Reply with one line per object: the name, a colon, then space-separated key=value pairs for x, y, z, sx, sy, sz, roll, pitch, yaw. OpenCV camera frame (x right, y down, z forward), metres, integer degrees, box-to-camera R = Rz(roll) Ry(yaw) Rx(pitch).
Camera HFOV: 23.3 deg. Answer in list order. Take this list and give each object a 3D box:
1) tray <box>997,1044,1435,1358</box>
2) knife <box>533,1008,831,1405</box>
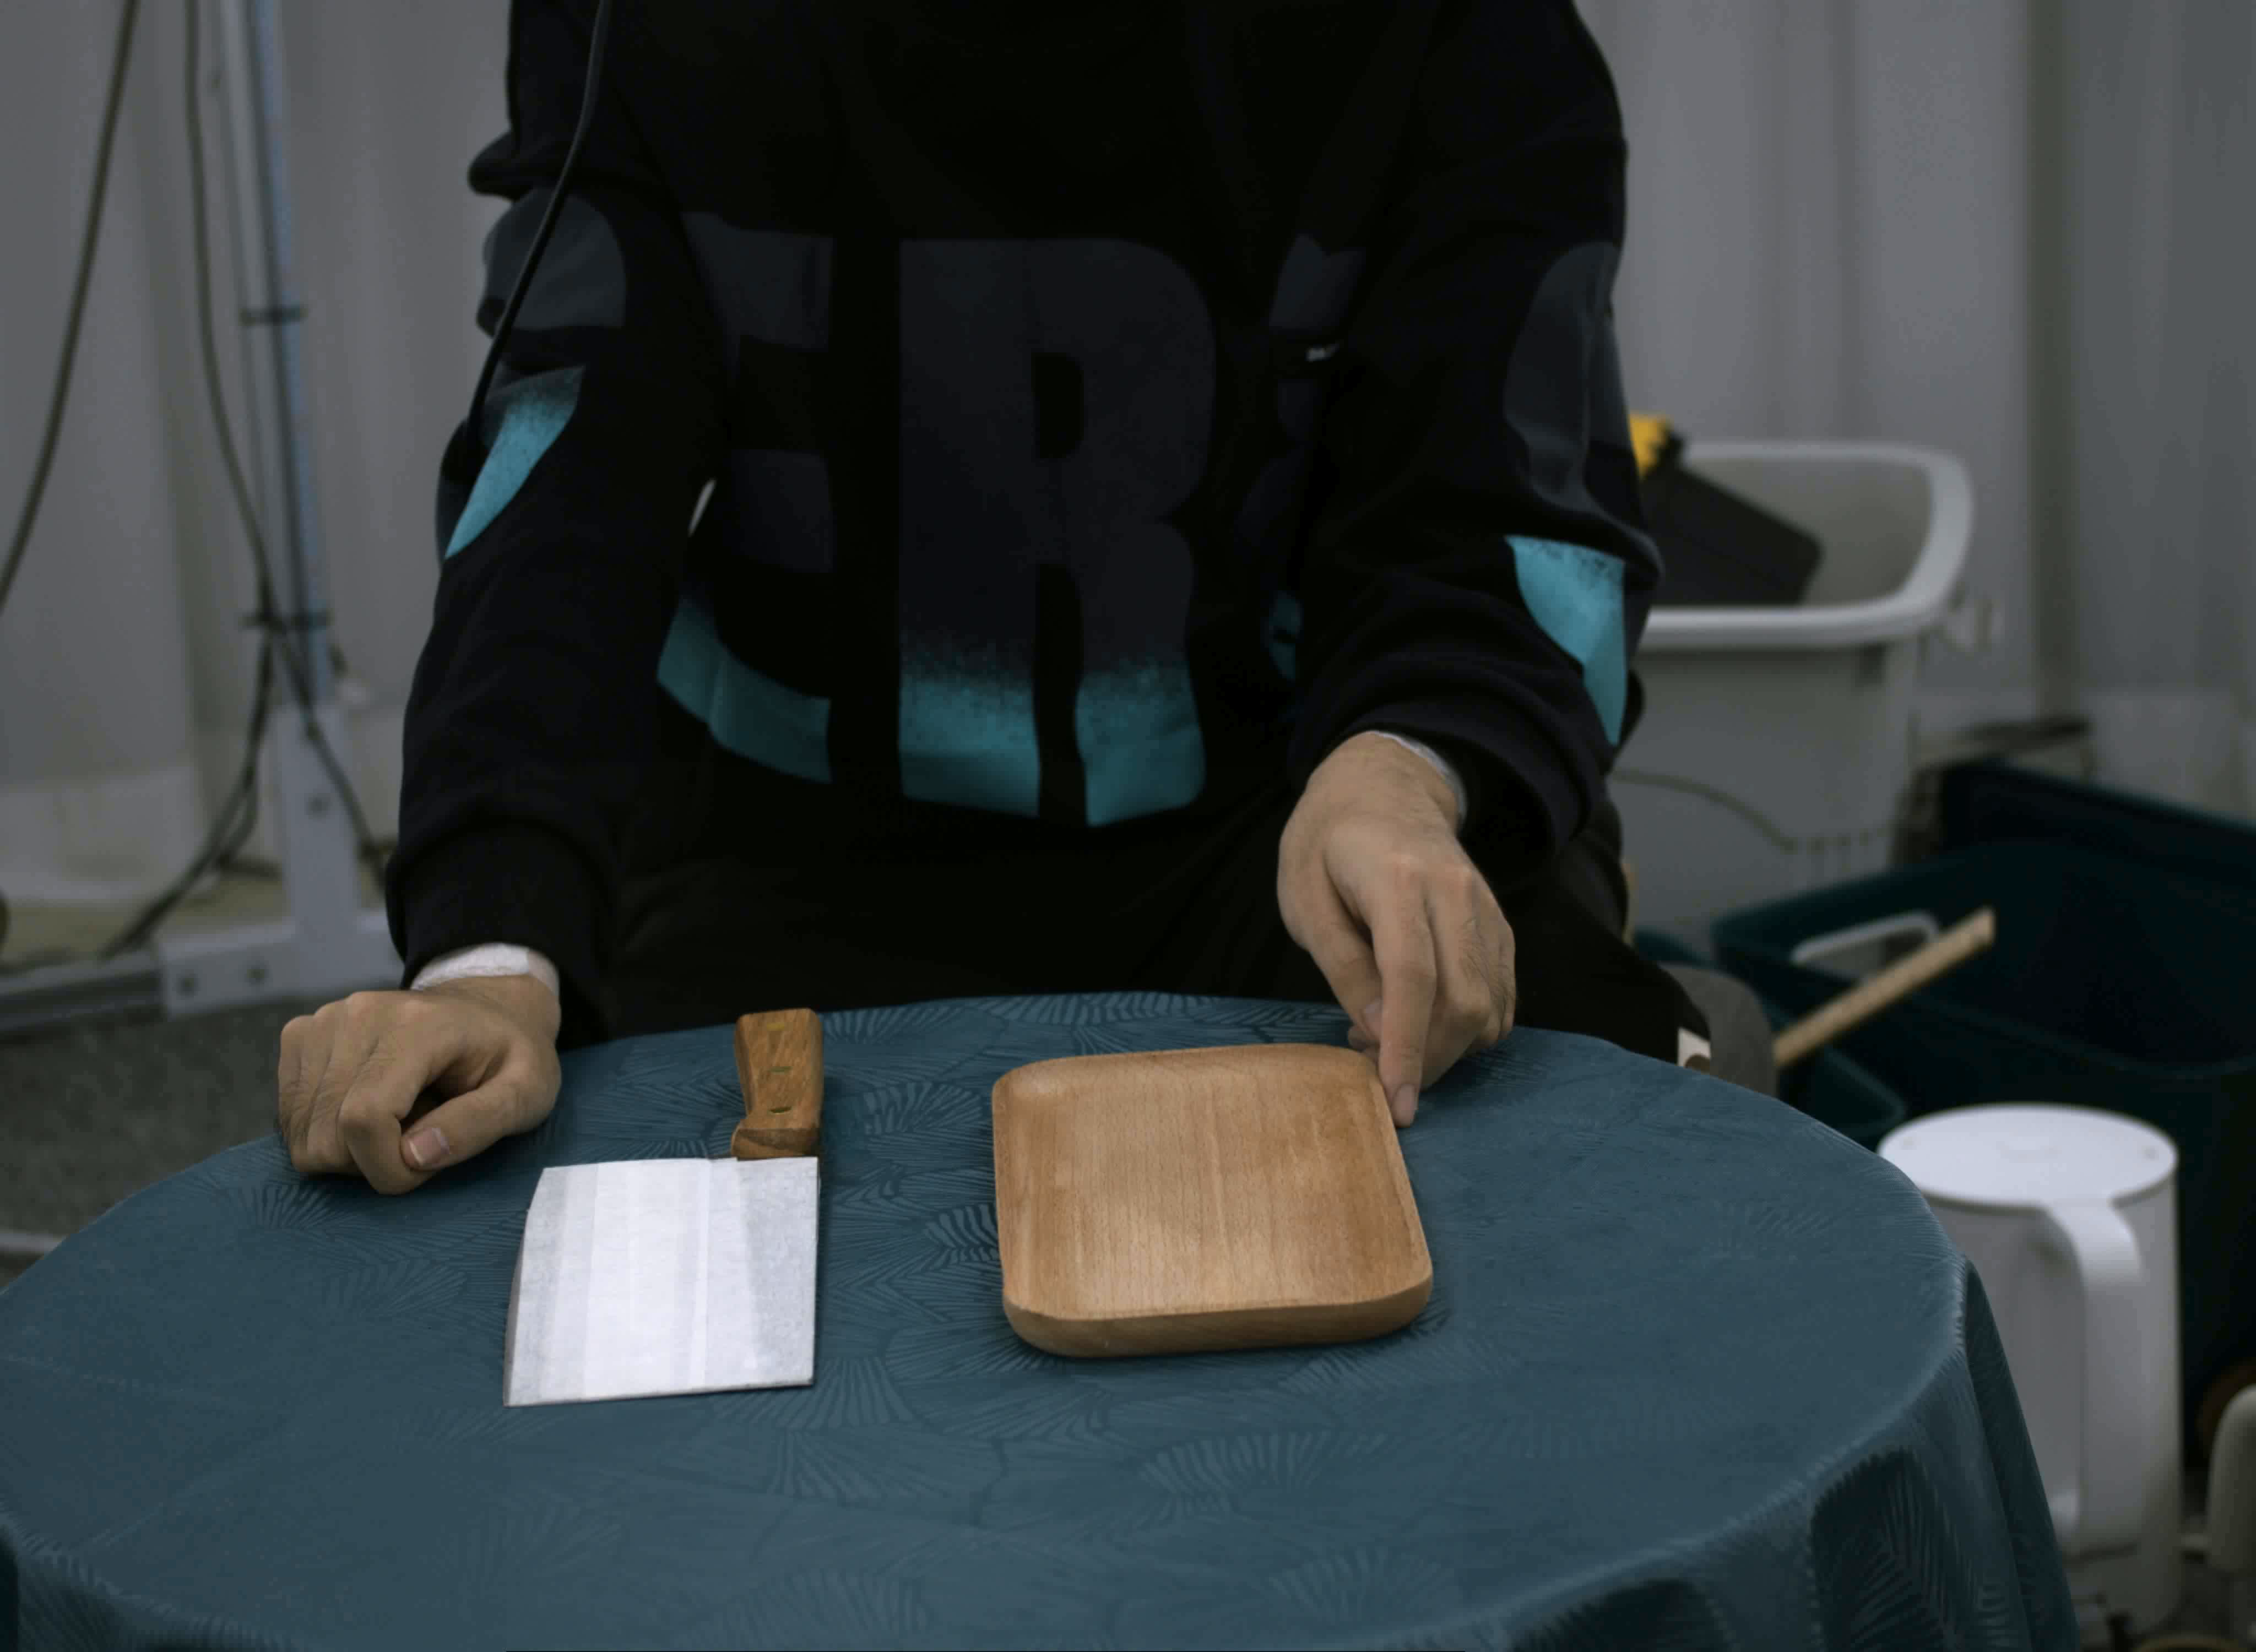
tray: x=0.024 y=0.113 z=1.686 sx=0.130 sy=0.023 sz=0.252 roll=-1 pitch=14 yaw=0
knife: x=-0.139 y=0.117 z=1.705 sx=0.092 sy=0.021 sz=0.308 roll=-5 pitch=17 yaw=-1
